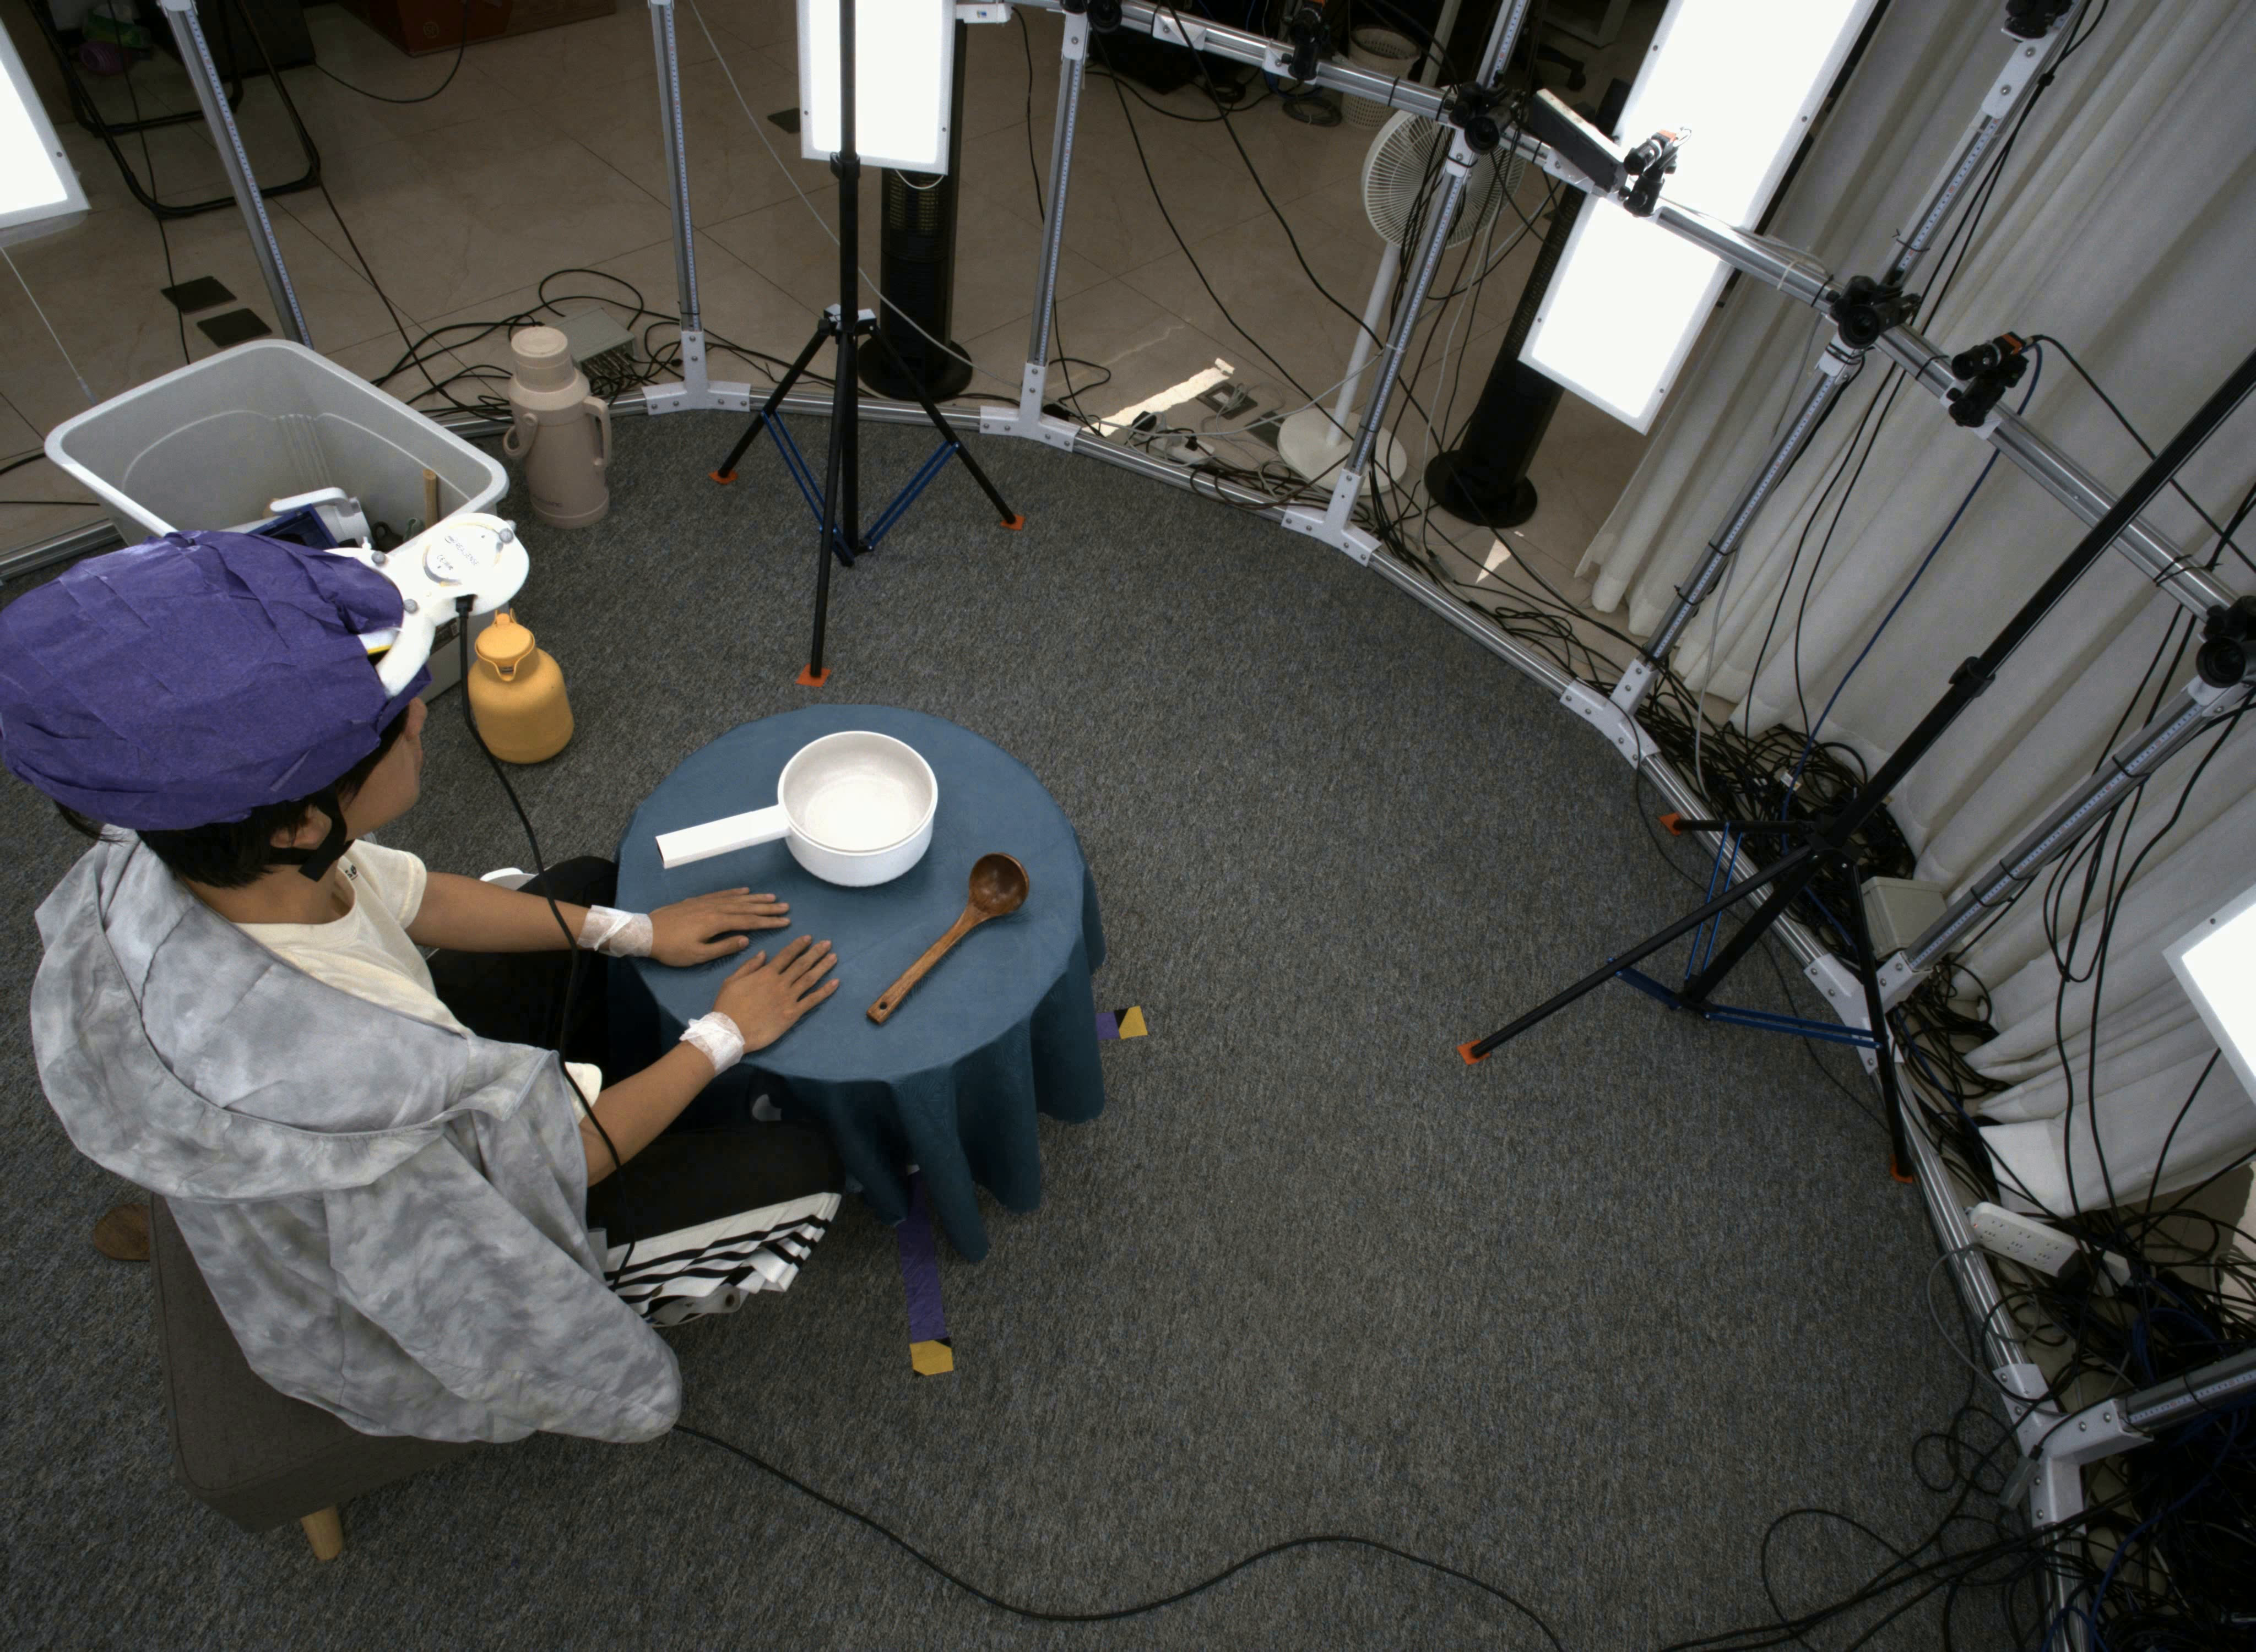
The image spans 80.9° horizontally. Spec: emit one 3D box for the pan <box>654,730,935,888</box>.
[{"bbox_3d":[-0.420,0.003,1.661,0.356,0.104,0.196,-17,60,-24],"label":"pan"}]

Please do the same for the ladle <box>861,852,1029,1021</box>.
[{"bbox_3d":[-0.227,0.133,1.625,0.080,0.078,0.274,36,53,15],"label":"ladle"}]
